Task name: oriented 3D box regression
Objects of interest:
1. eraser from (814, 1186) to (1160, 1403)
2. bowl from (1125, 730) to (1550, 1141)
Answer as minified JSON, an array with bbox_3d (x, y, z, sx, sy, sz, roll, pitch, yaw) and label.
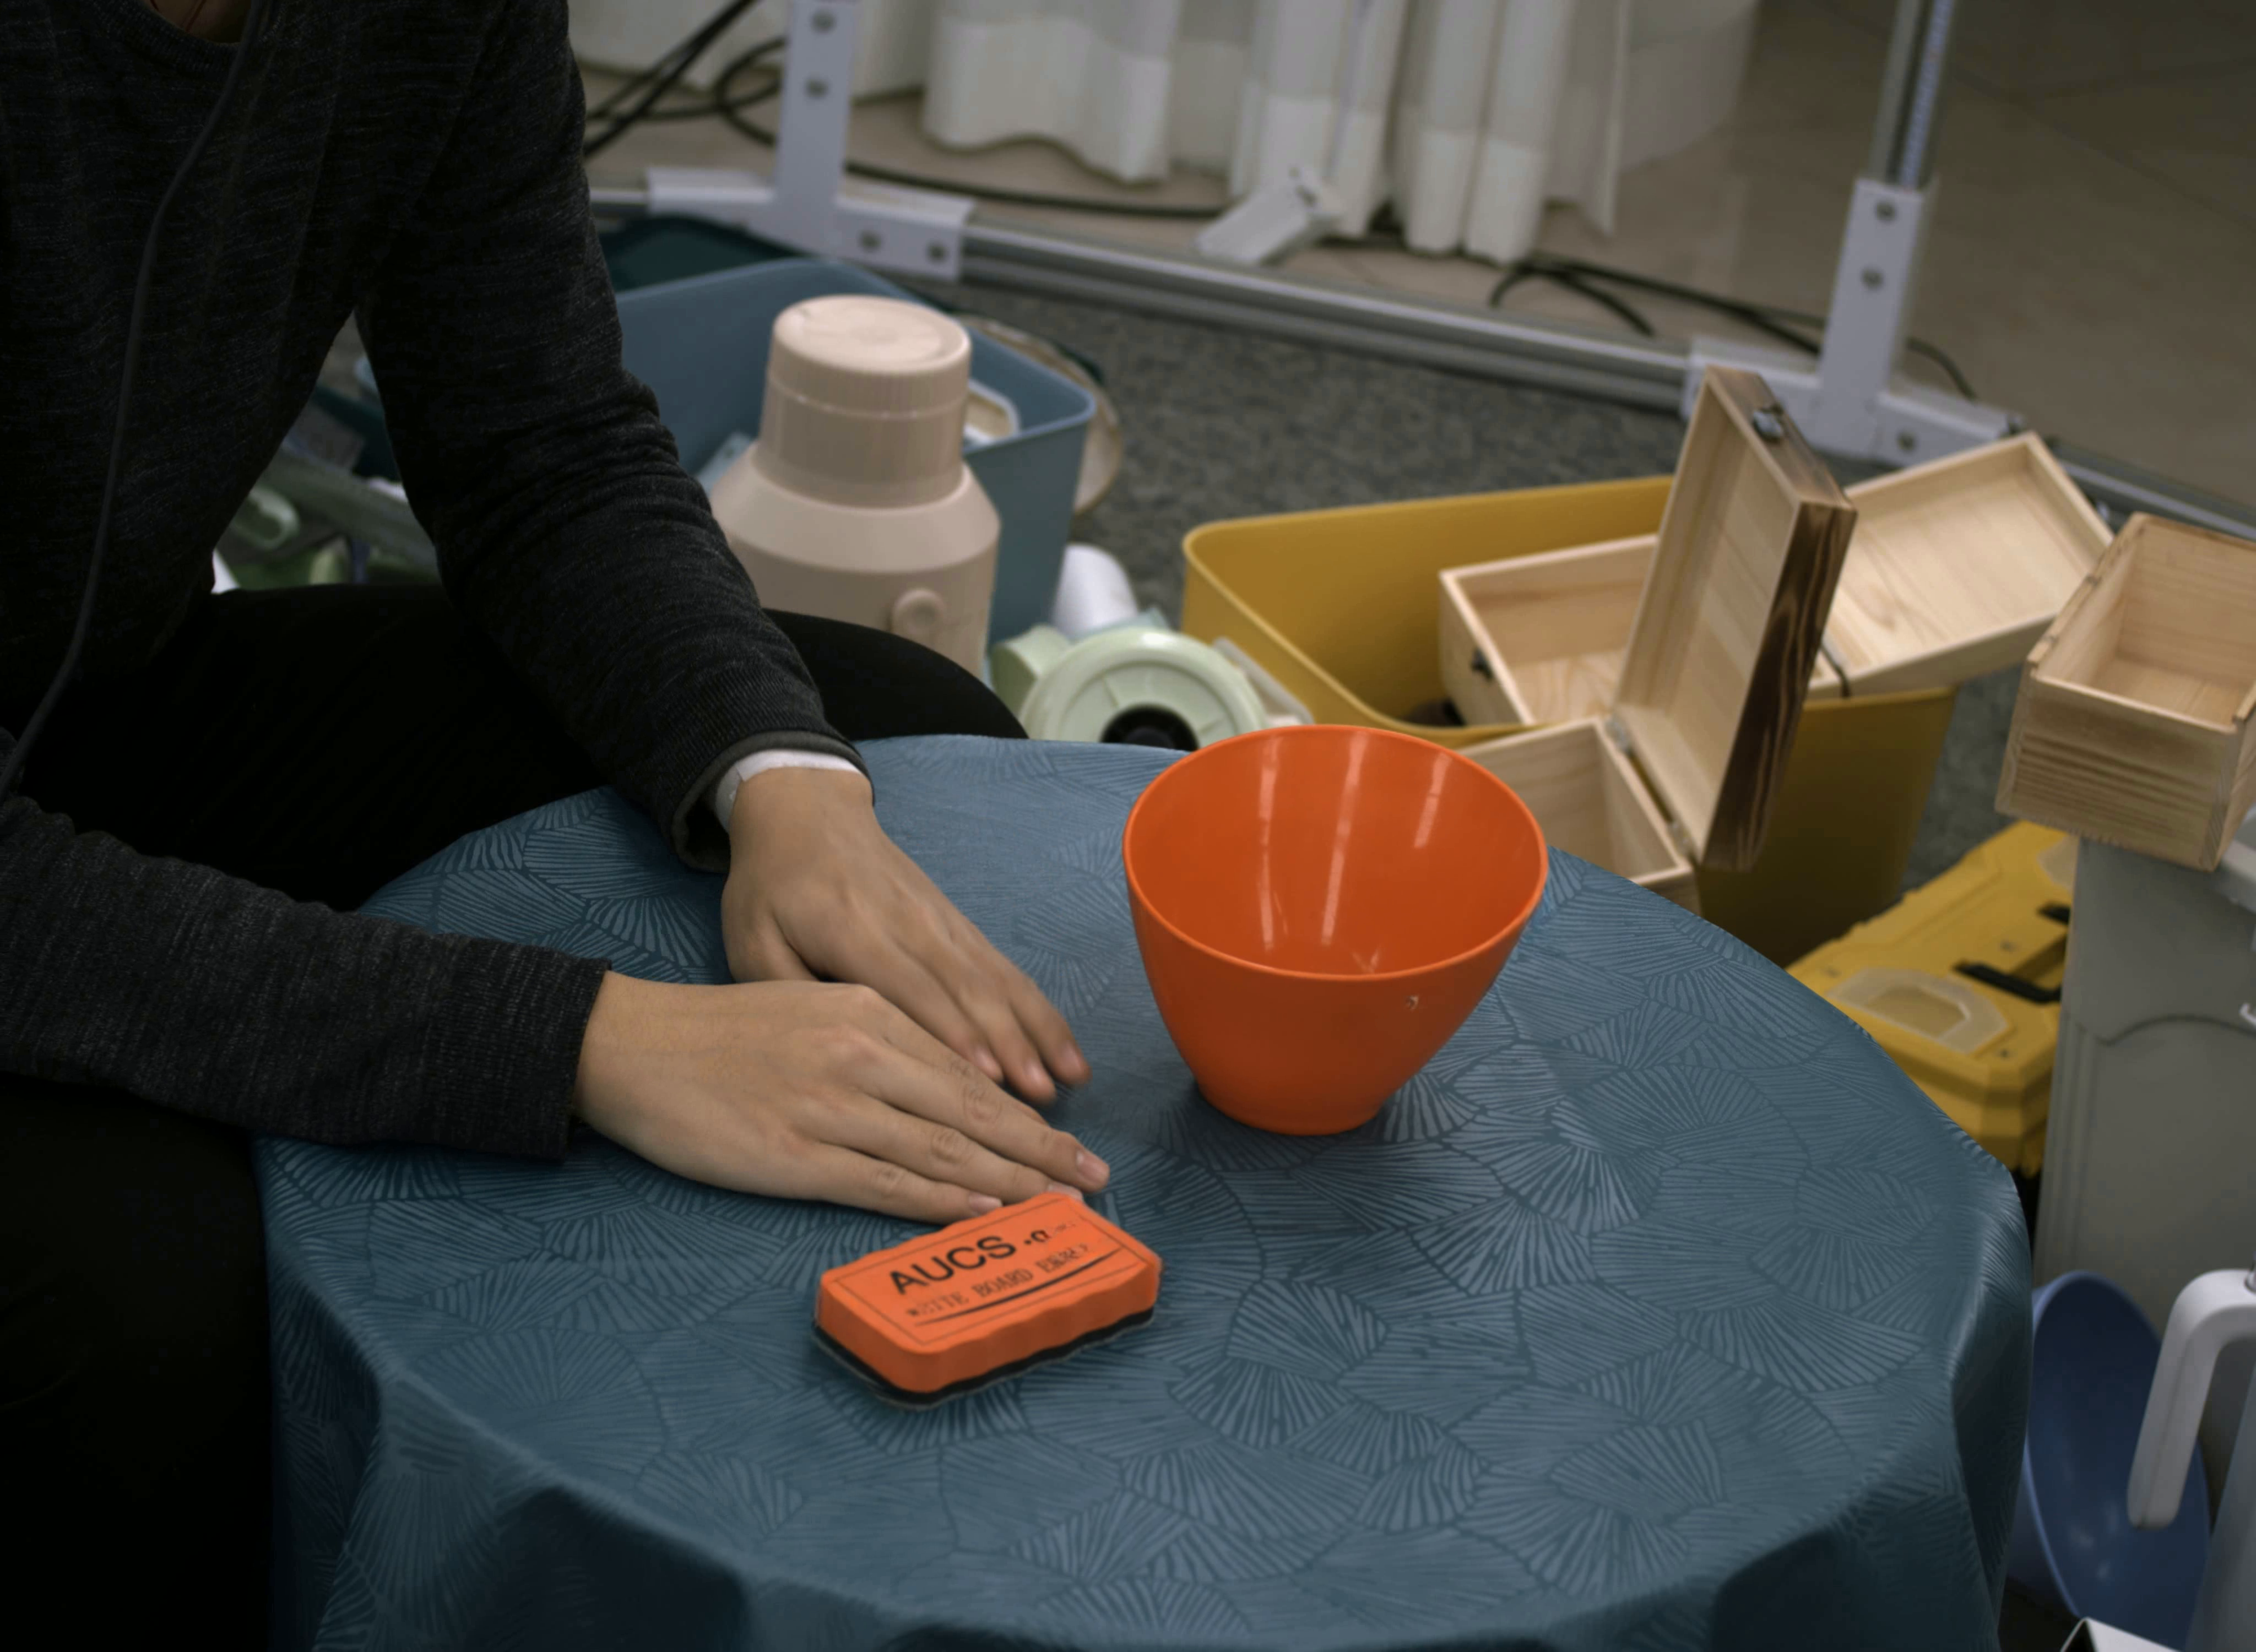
[{"bbox_3d":[-0.045,0.150,1.708,0.107,0.023,0.059,-16,36,-39],"label":"eraser"},{"bbox_3d":[0.068,0.045,1.861,0.147,0.104,0.149,6,27,-3],"label":"bowl"}]
